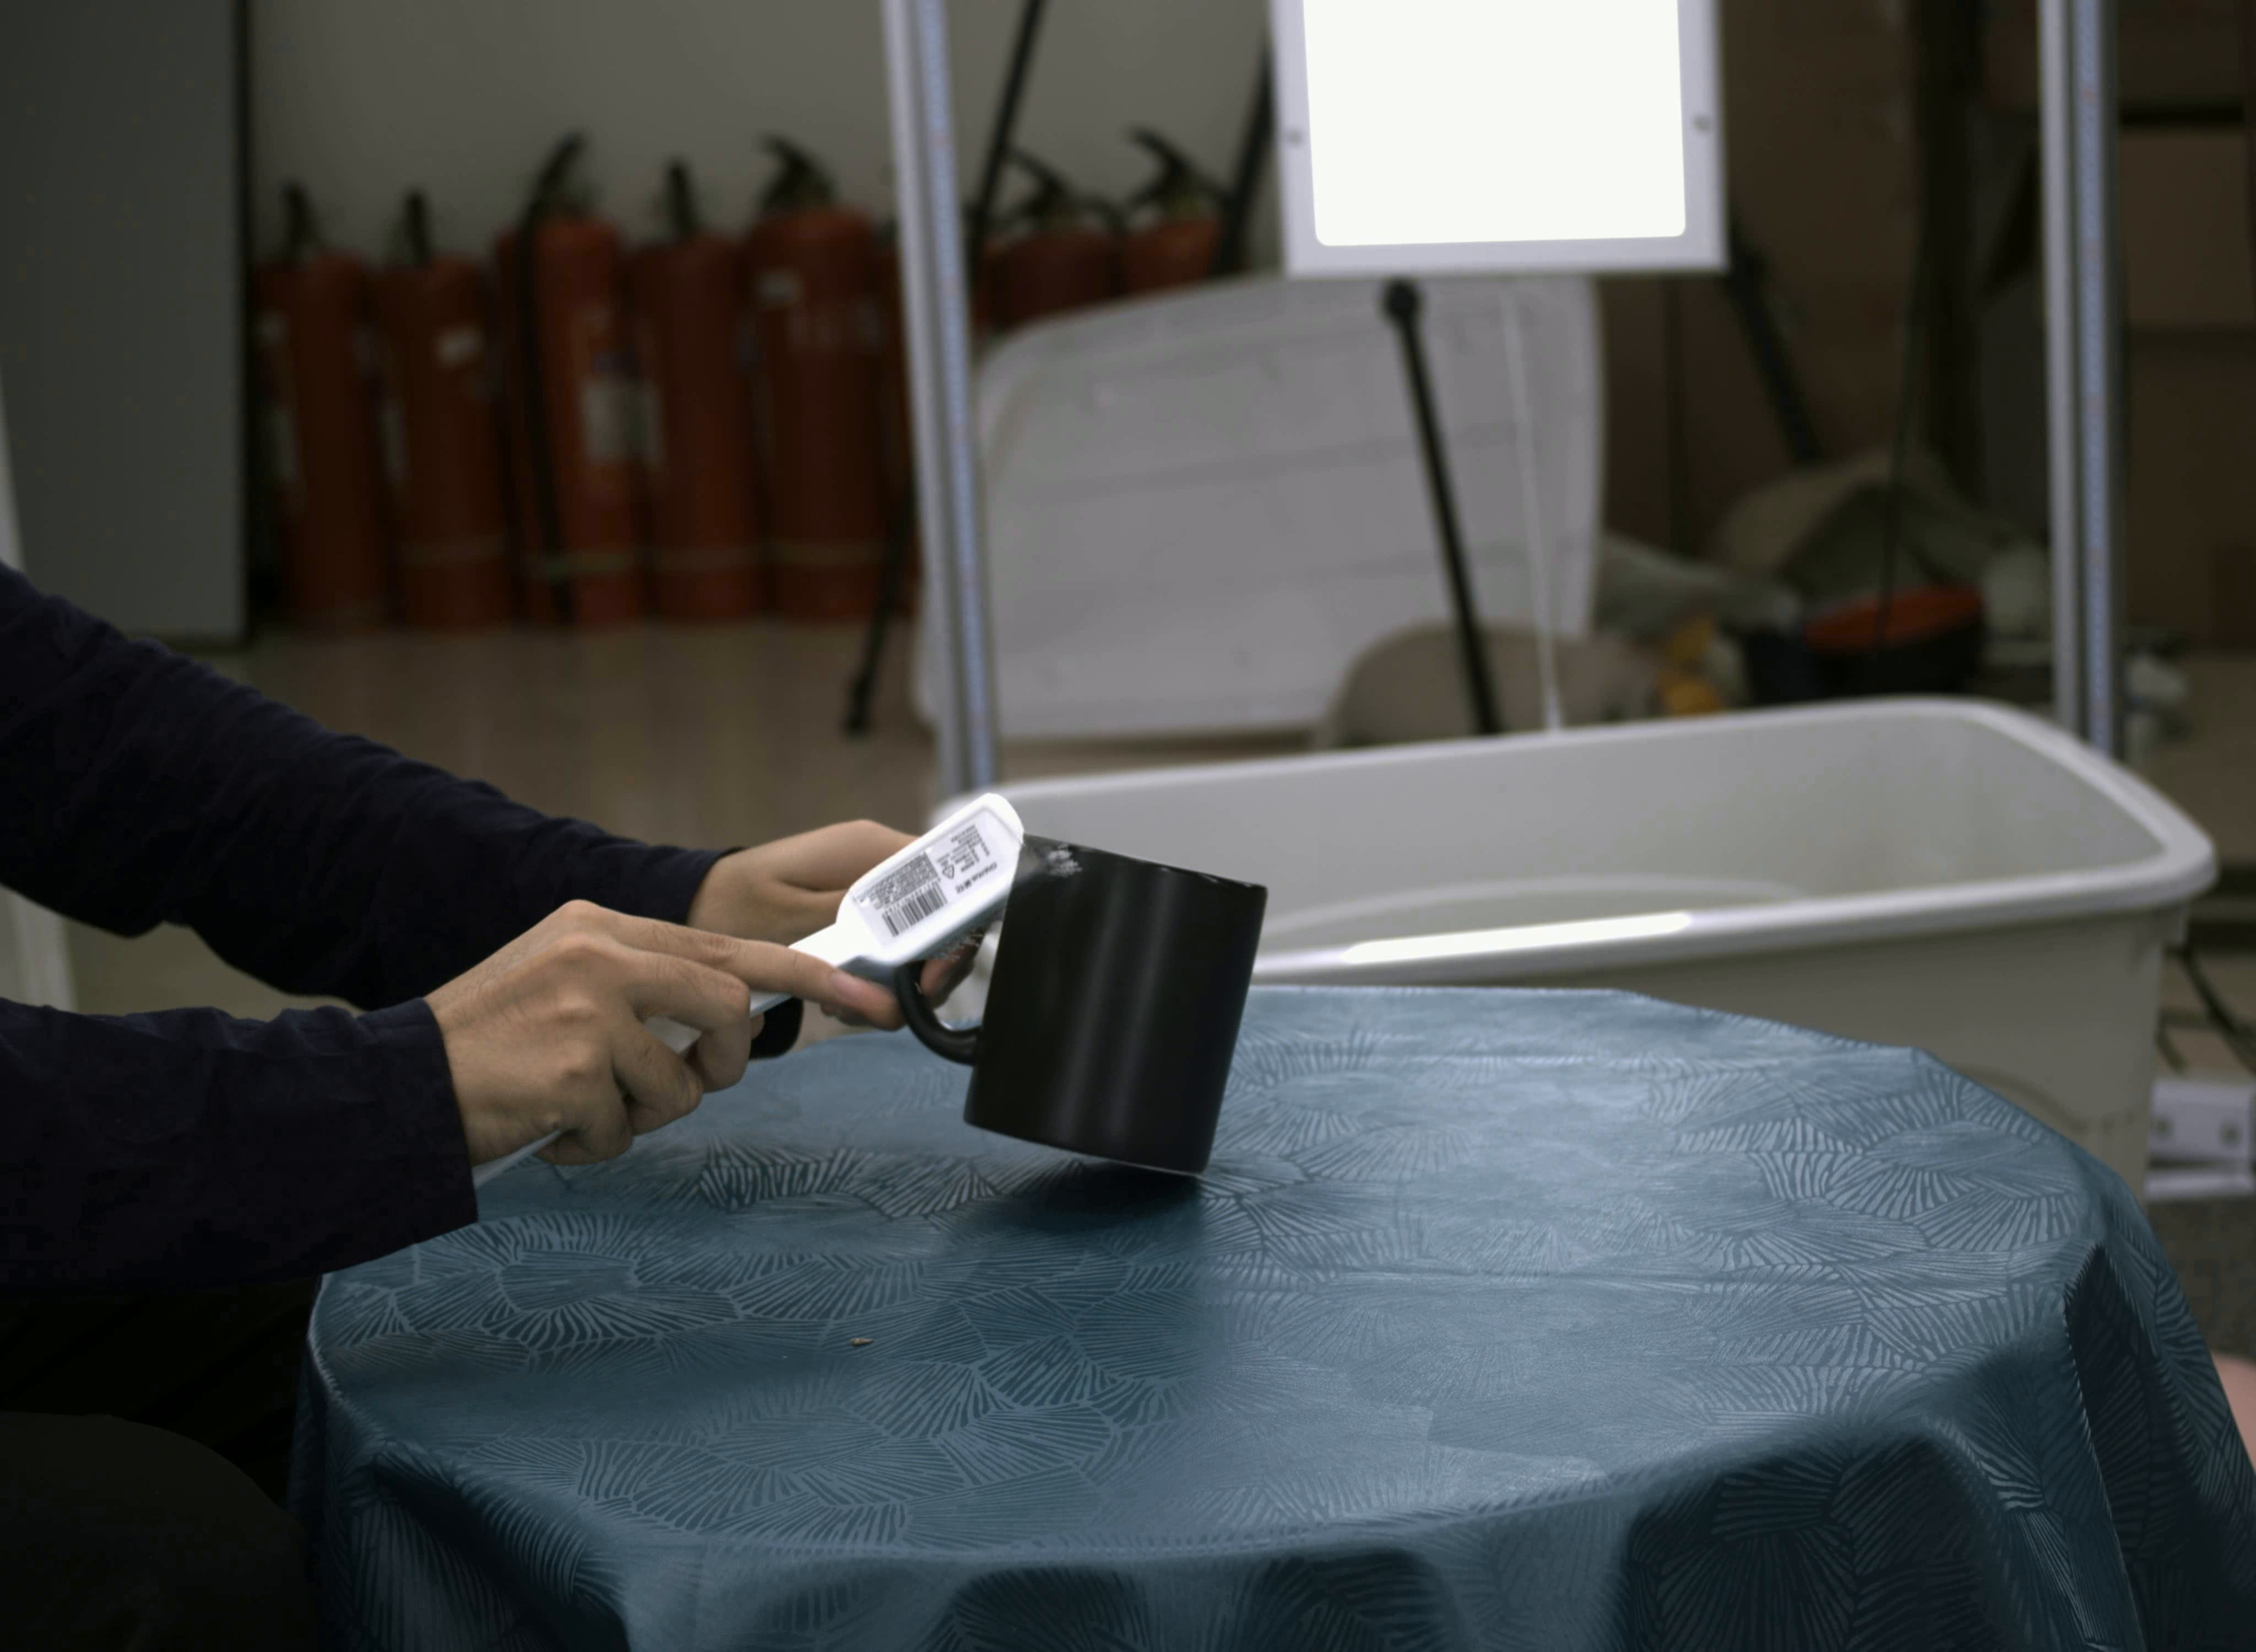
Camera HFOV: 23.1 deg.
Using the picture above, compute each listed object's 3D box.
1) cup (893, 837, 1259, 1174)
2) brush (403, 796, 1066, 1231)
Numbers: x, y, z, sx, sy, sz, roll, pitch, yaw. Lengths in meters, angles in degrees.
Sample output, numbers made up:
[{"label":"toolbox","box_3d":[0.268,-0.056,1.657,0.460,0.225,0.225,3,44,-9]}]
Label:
[{"label":"cup","box_3d":[-0.022,0.058,1.905,0.125,0.105,0.087,10,3,17]},{"label":"brush","box_3d":[-0.129,0.063,1.804,0.243,0.034,0.050,-32,-8,-2]}]
